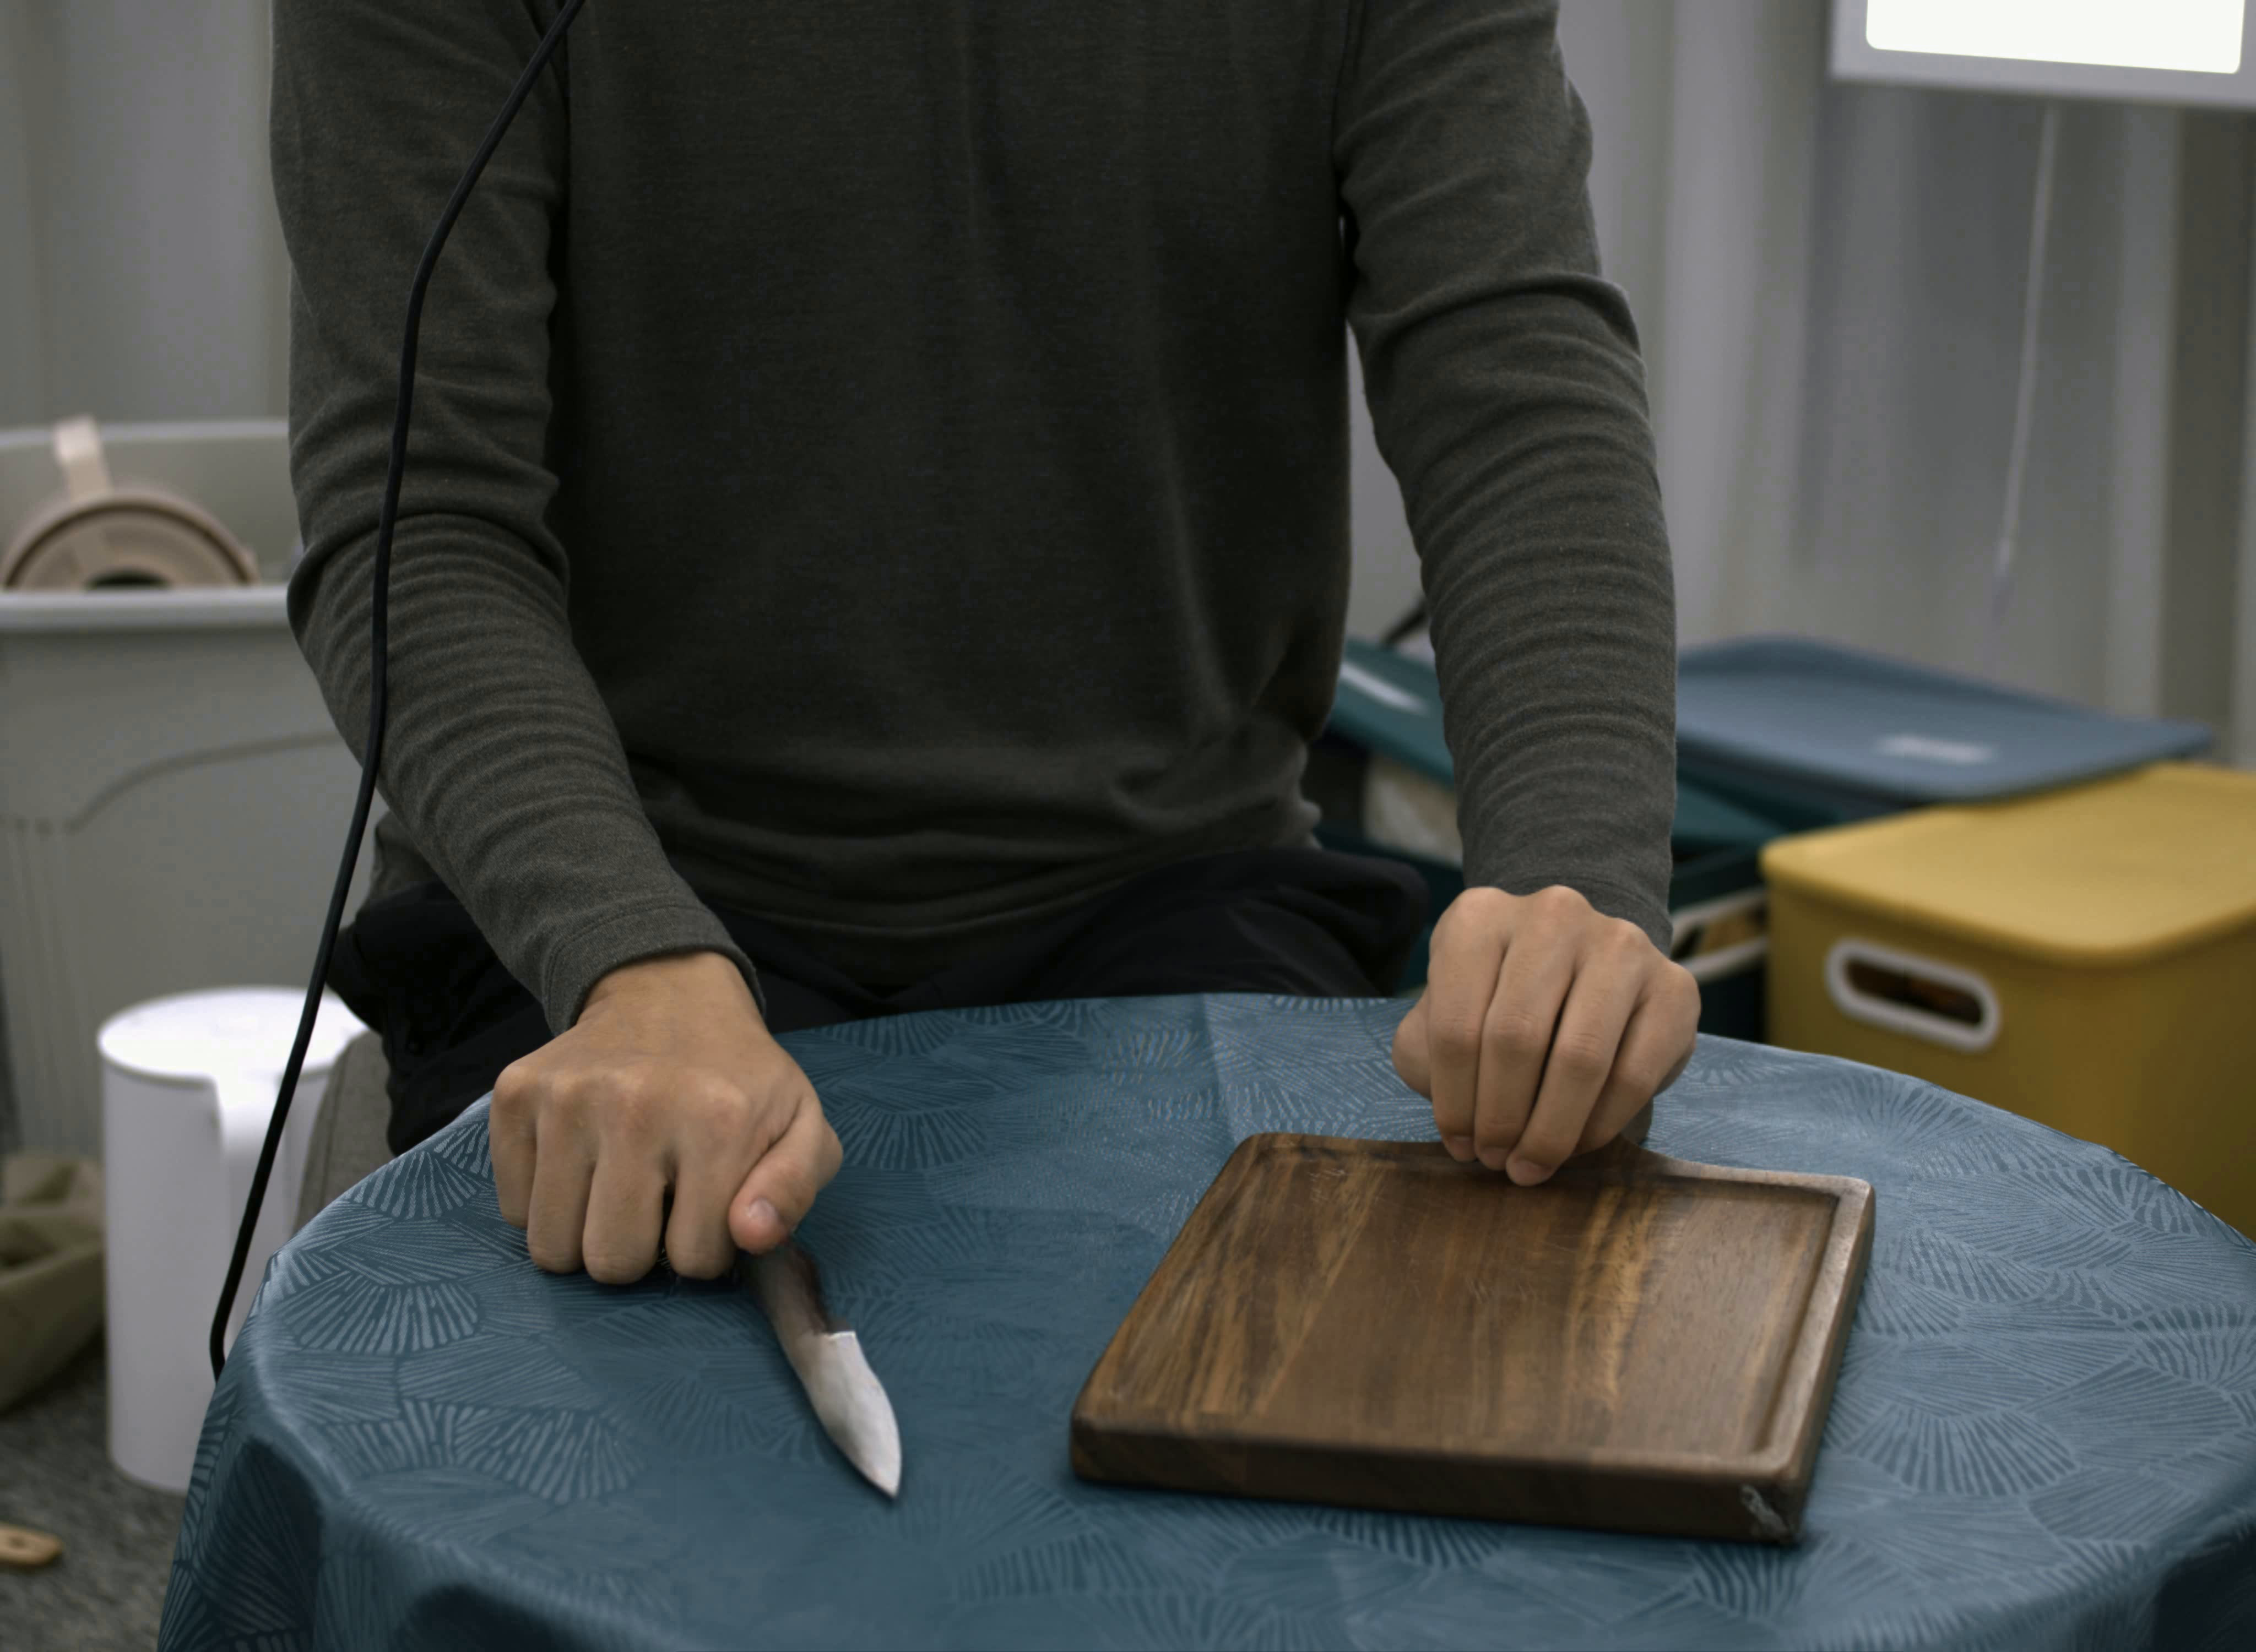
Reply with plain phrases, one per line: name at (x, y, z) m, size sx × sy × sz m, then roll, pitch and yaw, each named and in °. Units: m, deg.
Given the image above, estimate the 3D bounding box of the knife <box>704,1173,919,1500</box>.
knife at (-0.091, 0.143, 1.485) m, size 0.024 × 0.016 × 0.236 m, roll -5°, pitch 18°, yaw -15°

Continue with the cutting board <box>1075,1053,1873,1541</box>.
cutting board at (0.115, 0.127, 1.538) m, size 0.199 × 0.023 × 0.351 m, roll 4°, pitch 15°, yaw 11°
